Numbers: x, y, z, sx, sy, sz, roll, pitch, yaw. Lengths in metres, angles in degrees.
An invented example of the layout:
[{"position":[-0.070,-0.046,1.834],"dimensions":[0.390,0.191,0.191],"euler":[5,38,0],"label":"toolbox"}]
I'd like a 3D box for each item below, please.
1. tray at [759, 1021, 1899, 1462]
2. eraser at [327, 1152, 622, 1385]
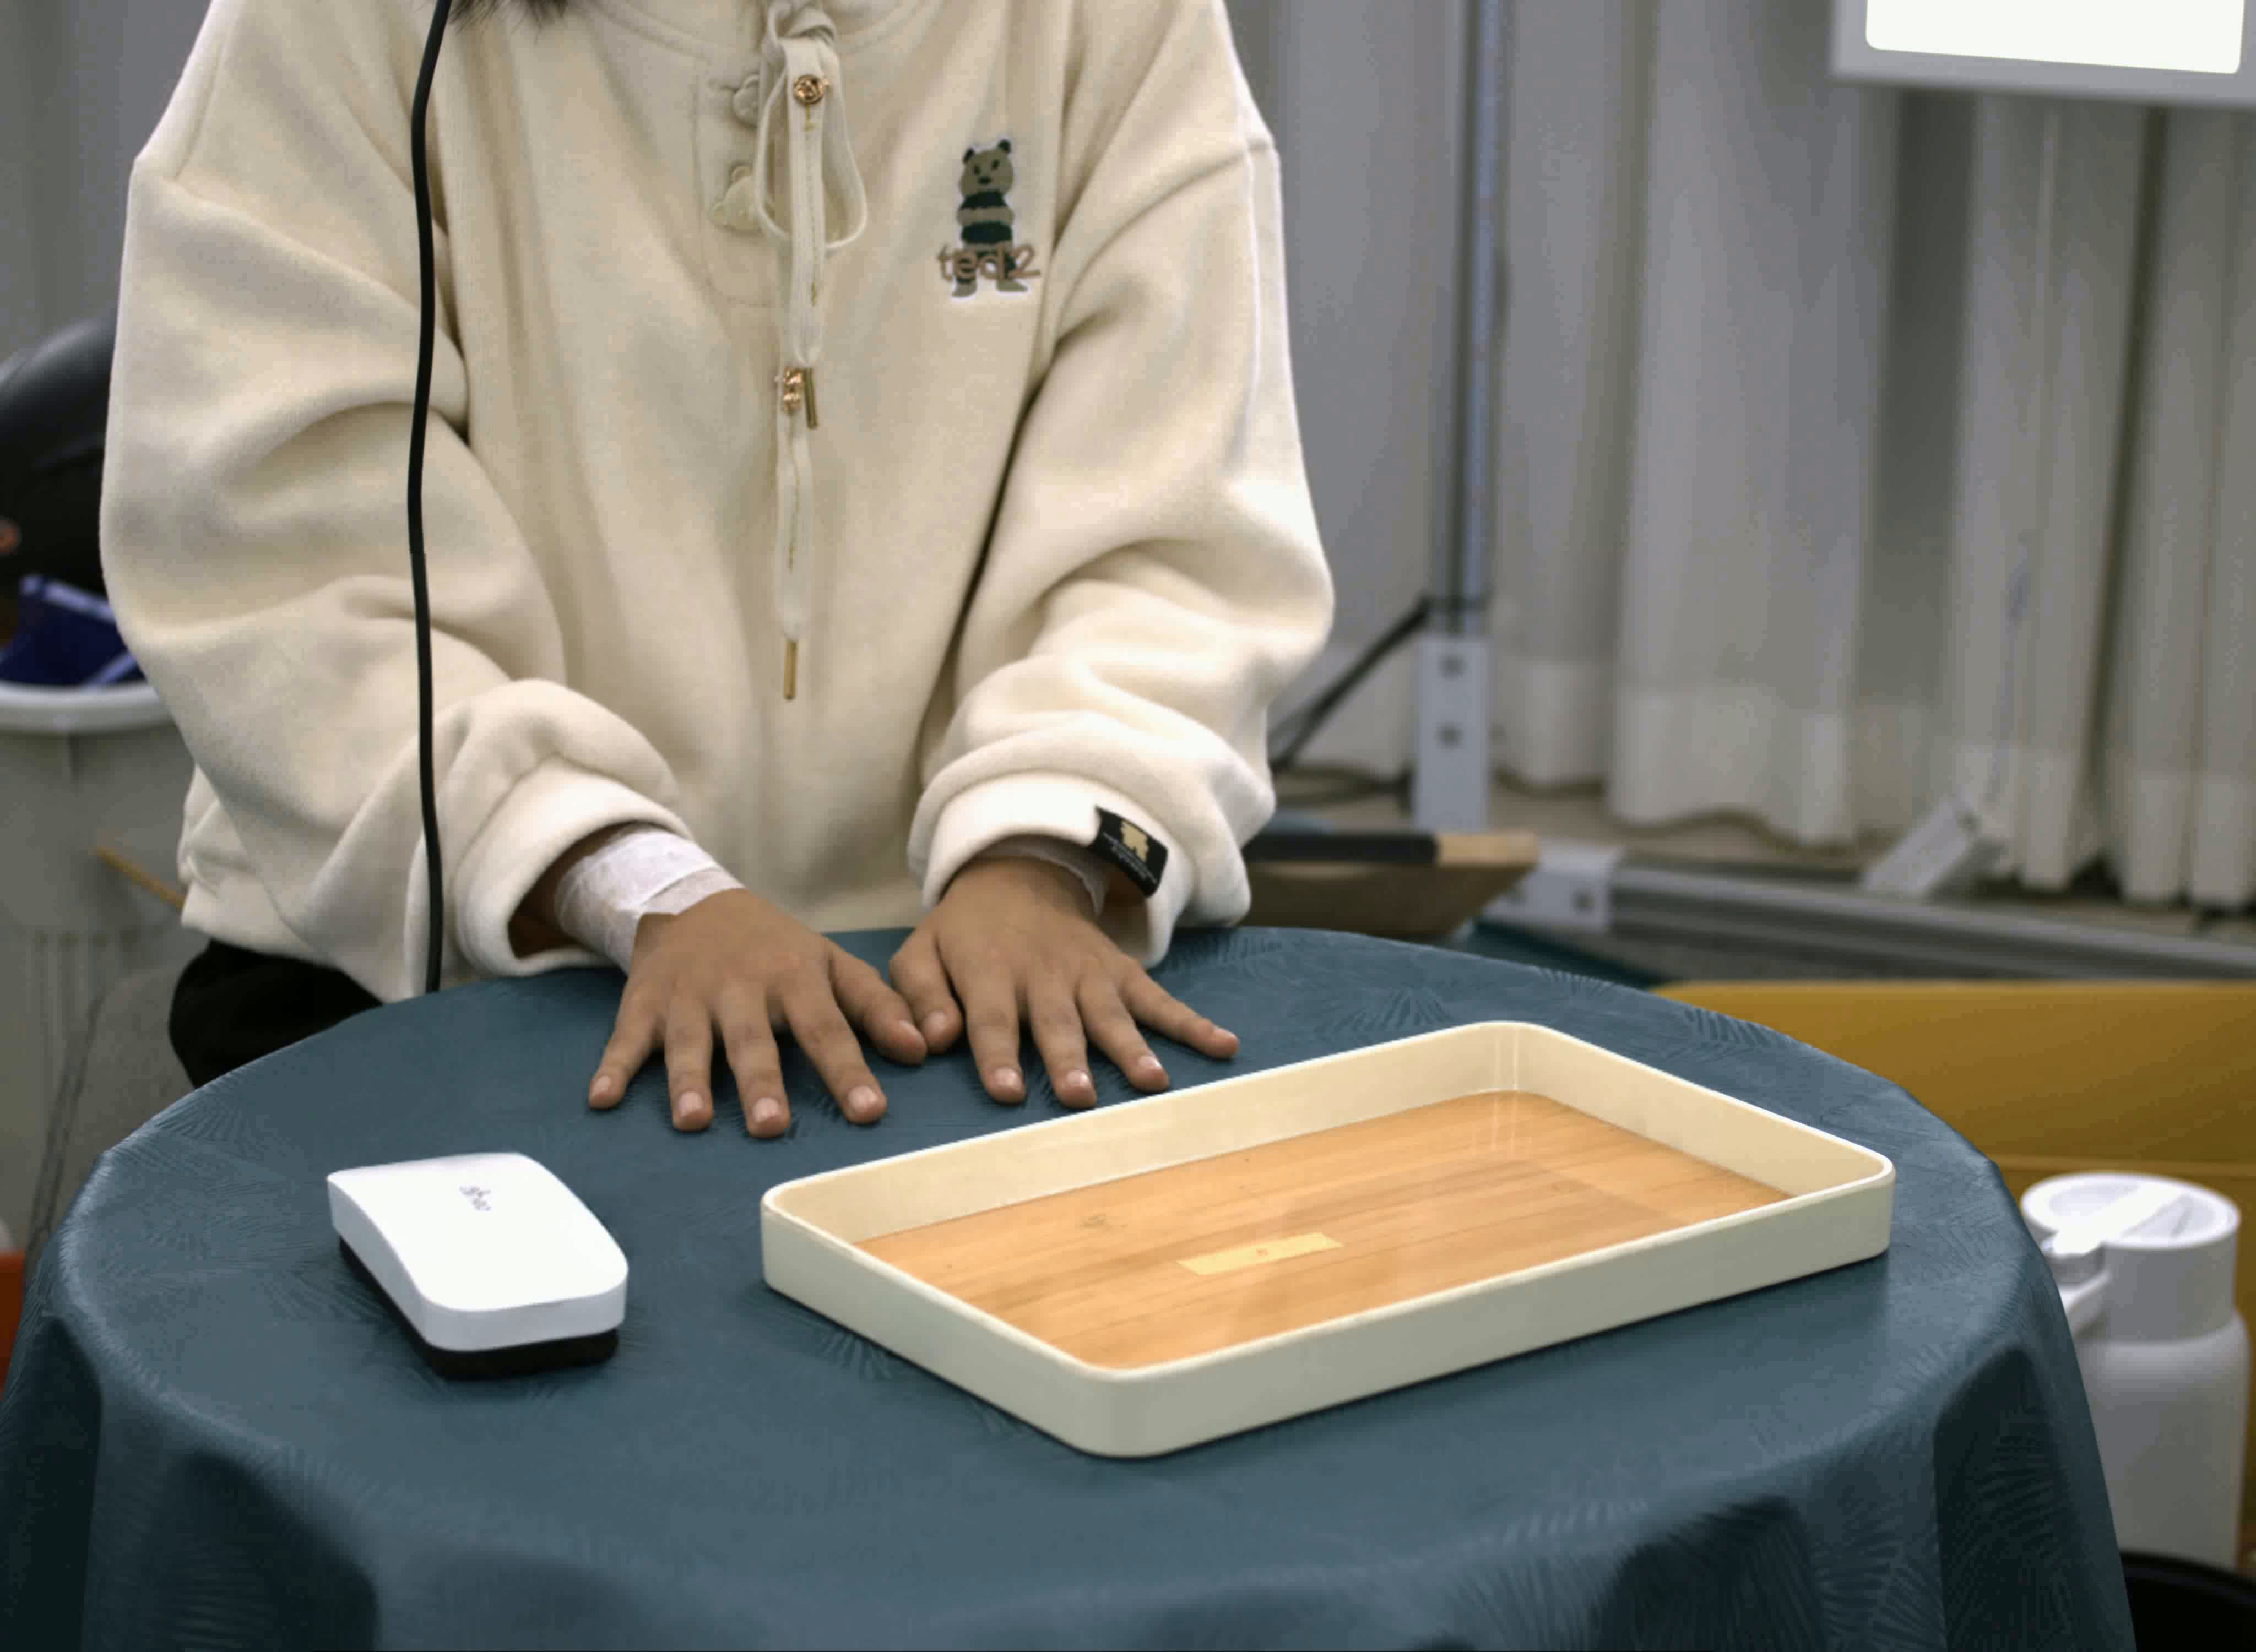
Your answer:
[{"position":[0.061,0.117,1.554],"dimensions":[0.302,0.027,0.189],"euler":[-11,19,-35],"label":"tray"},{"position":[-0.188,0.123,1.520],"dimensions":[0.063,0.035,0.130],"euler":[-7,18,-20],"label":"eraser"}]
